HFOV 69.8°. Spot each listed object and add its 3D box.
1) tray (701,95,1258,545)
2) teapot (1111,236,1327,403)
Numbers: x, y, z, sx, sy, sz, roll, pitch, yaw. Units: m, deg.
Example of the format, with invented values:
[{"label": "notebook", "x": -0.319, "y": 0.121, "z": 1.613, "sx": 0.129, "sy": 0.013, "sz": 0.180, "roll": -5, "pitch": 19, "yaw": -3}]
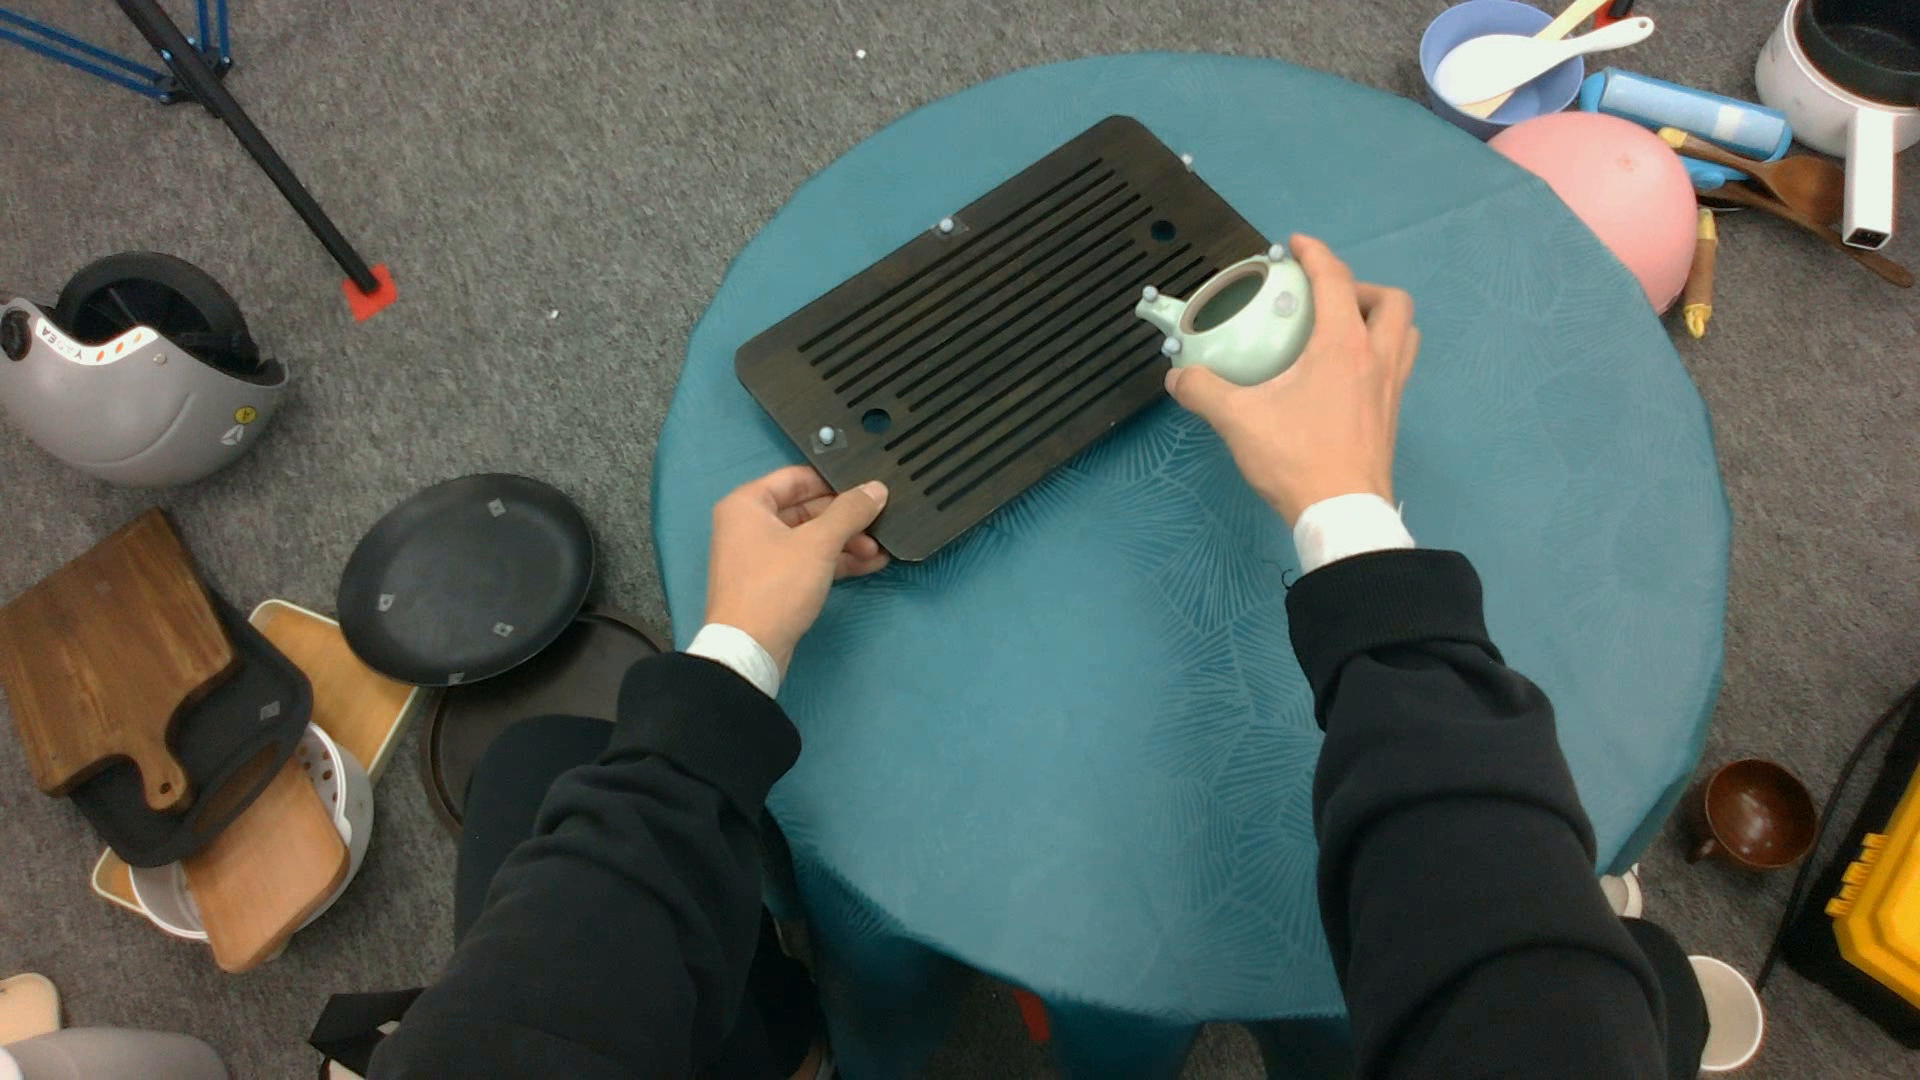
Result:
[{"label": "tray", "x": 0.018, "y": -0.136, "z": 0.798, "sx": 0.307, "sy": 0.018, "sz": 0.170, "roll": -36, "pitch": 71, "yaw": -18}, {"label": "teapot", "x": 0.139, "y": -0.114, "z": 0.711, "sx": 0.074, "sy": 0.143, "sz": 0.088, "roll": 44, "pitch": 74, "yaw": -22}]
